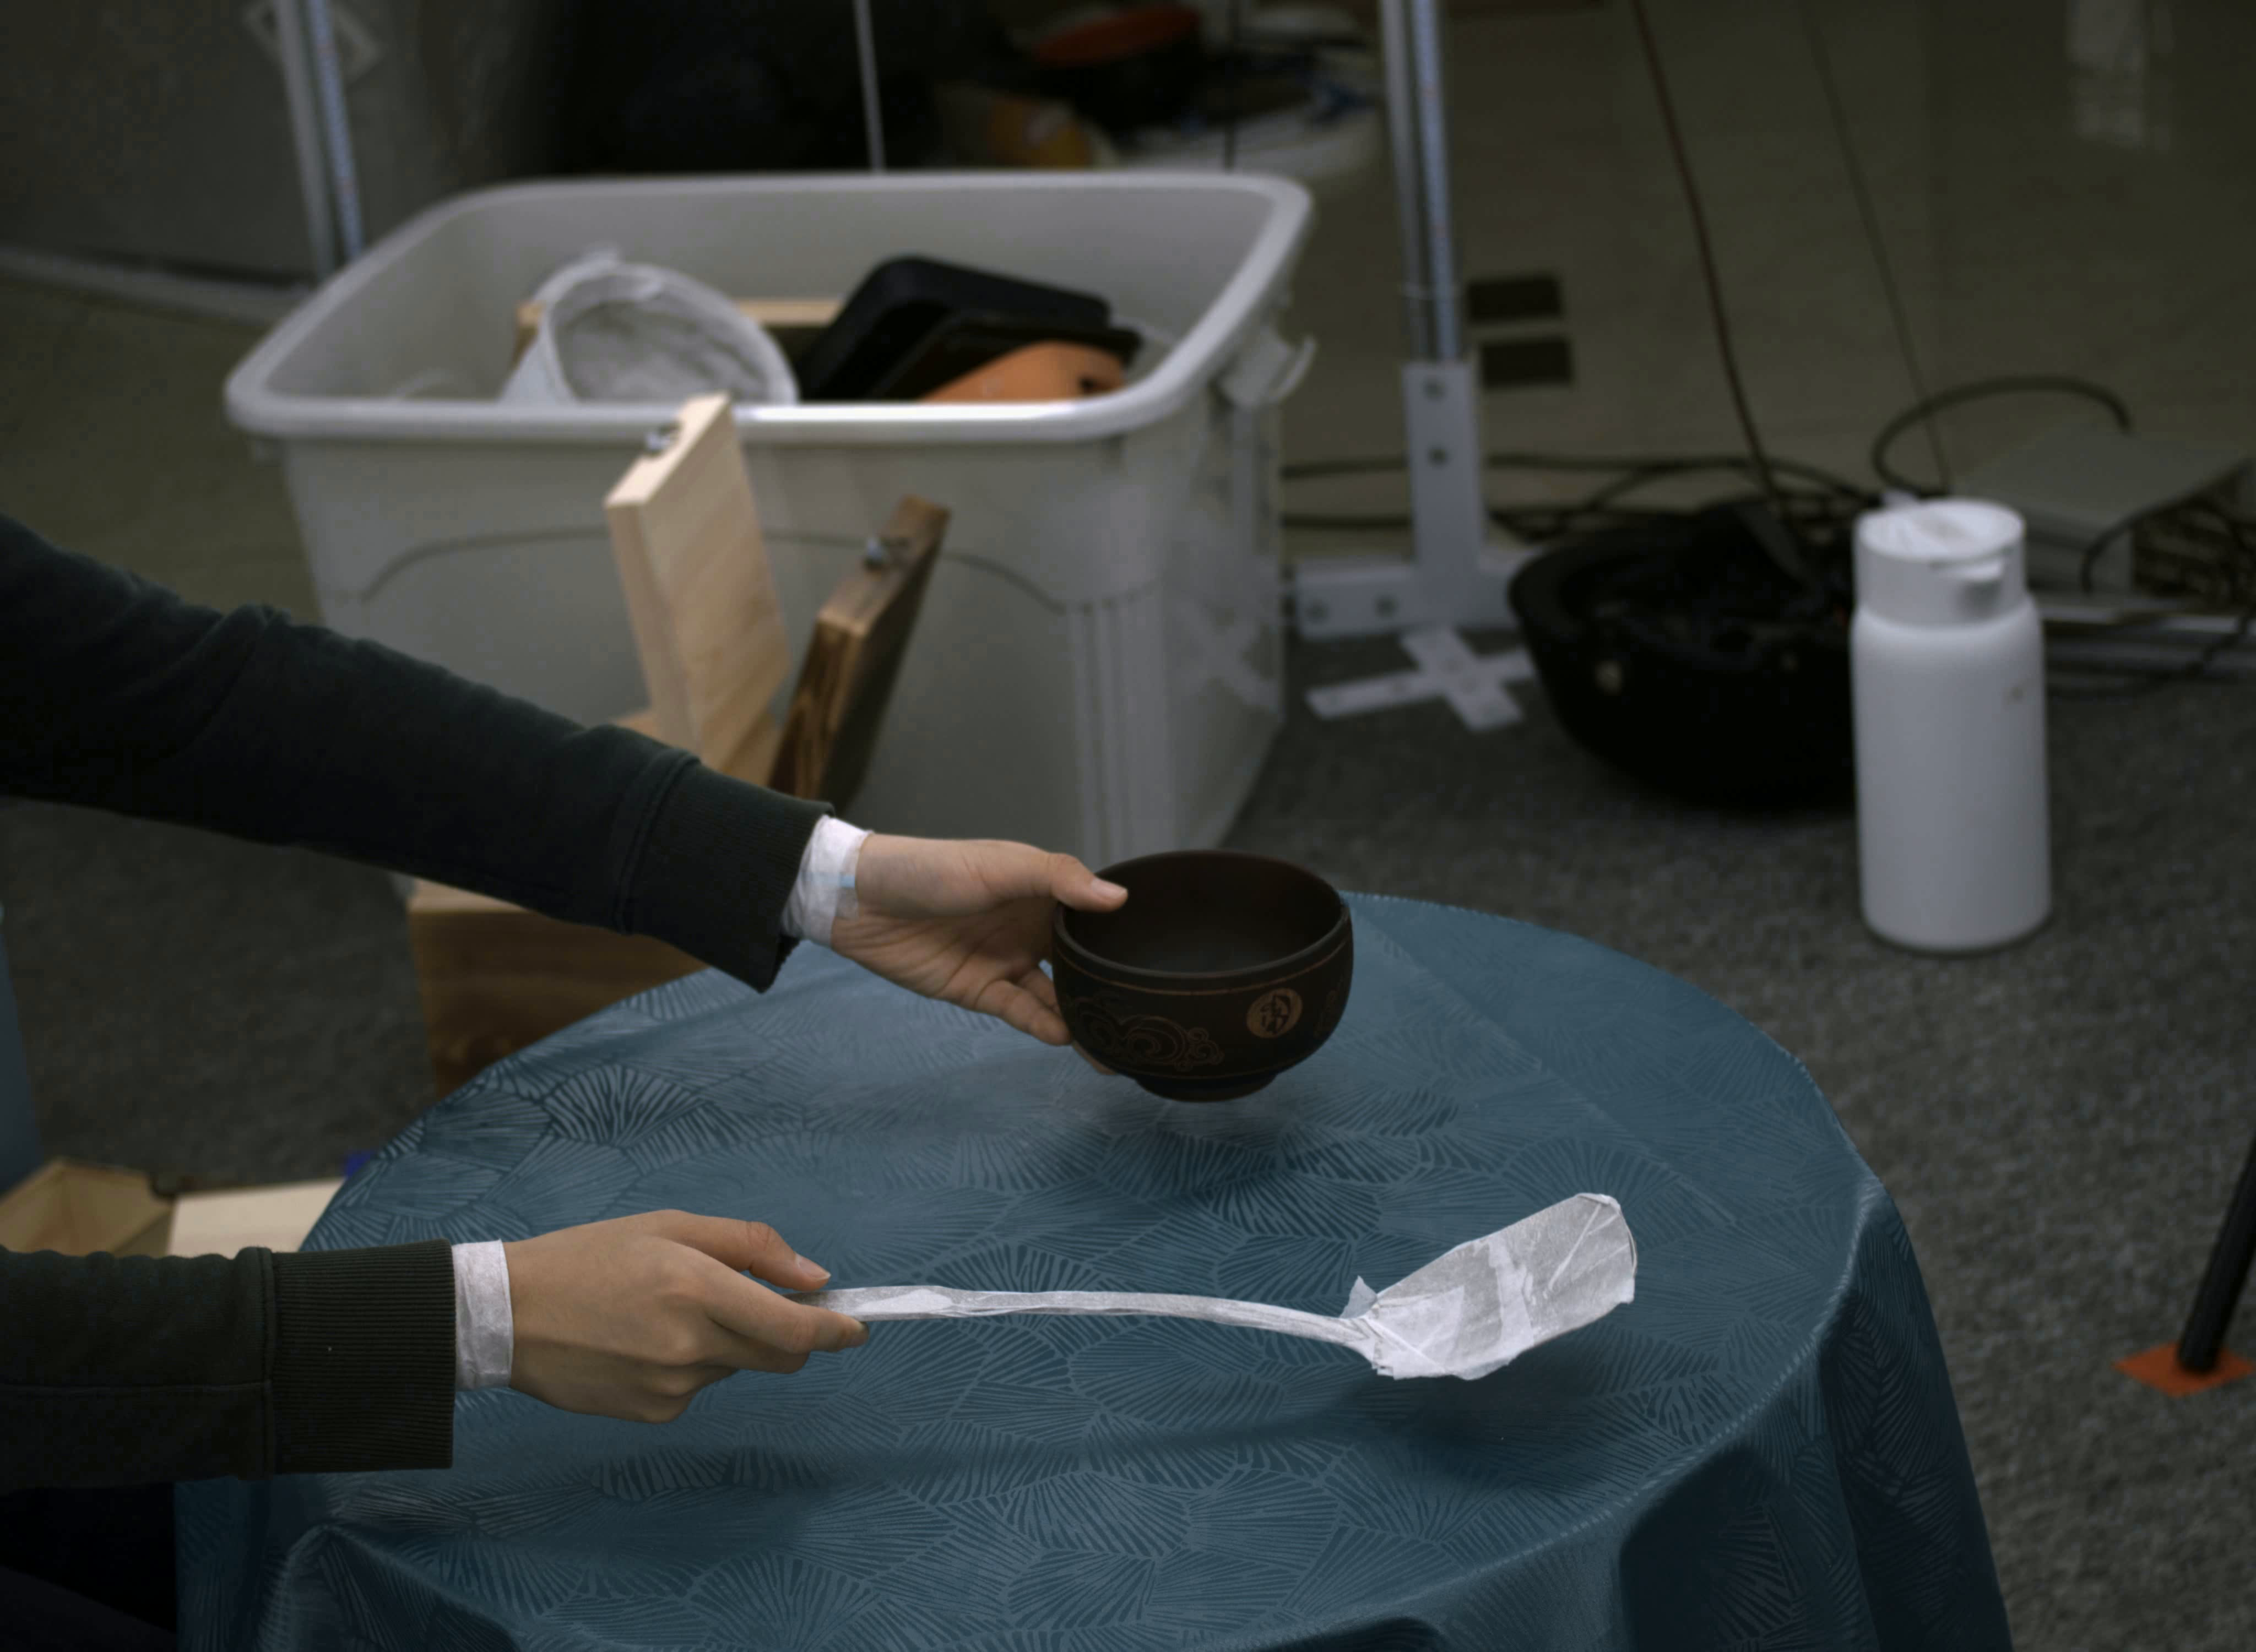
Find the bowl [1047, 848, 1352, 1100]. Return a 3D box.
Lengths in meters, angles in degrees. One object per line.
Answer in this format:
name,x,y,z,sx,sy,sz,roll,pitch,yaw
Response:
bowl,0.028,0.062,2.178,0.118,0.071,0.116,-3,24,1

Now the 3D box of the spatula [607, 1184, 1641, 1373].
spatula,-0.004,0.161,1.981,0.364,0.045,0.097,1,25,3
